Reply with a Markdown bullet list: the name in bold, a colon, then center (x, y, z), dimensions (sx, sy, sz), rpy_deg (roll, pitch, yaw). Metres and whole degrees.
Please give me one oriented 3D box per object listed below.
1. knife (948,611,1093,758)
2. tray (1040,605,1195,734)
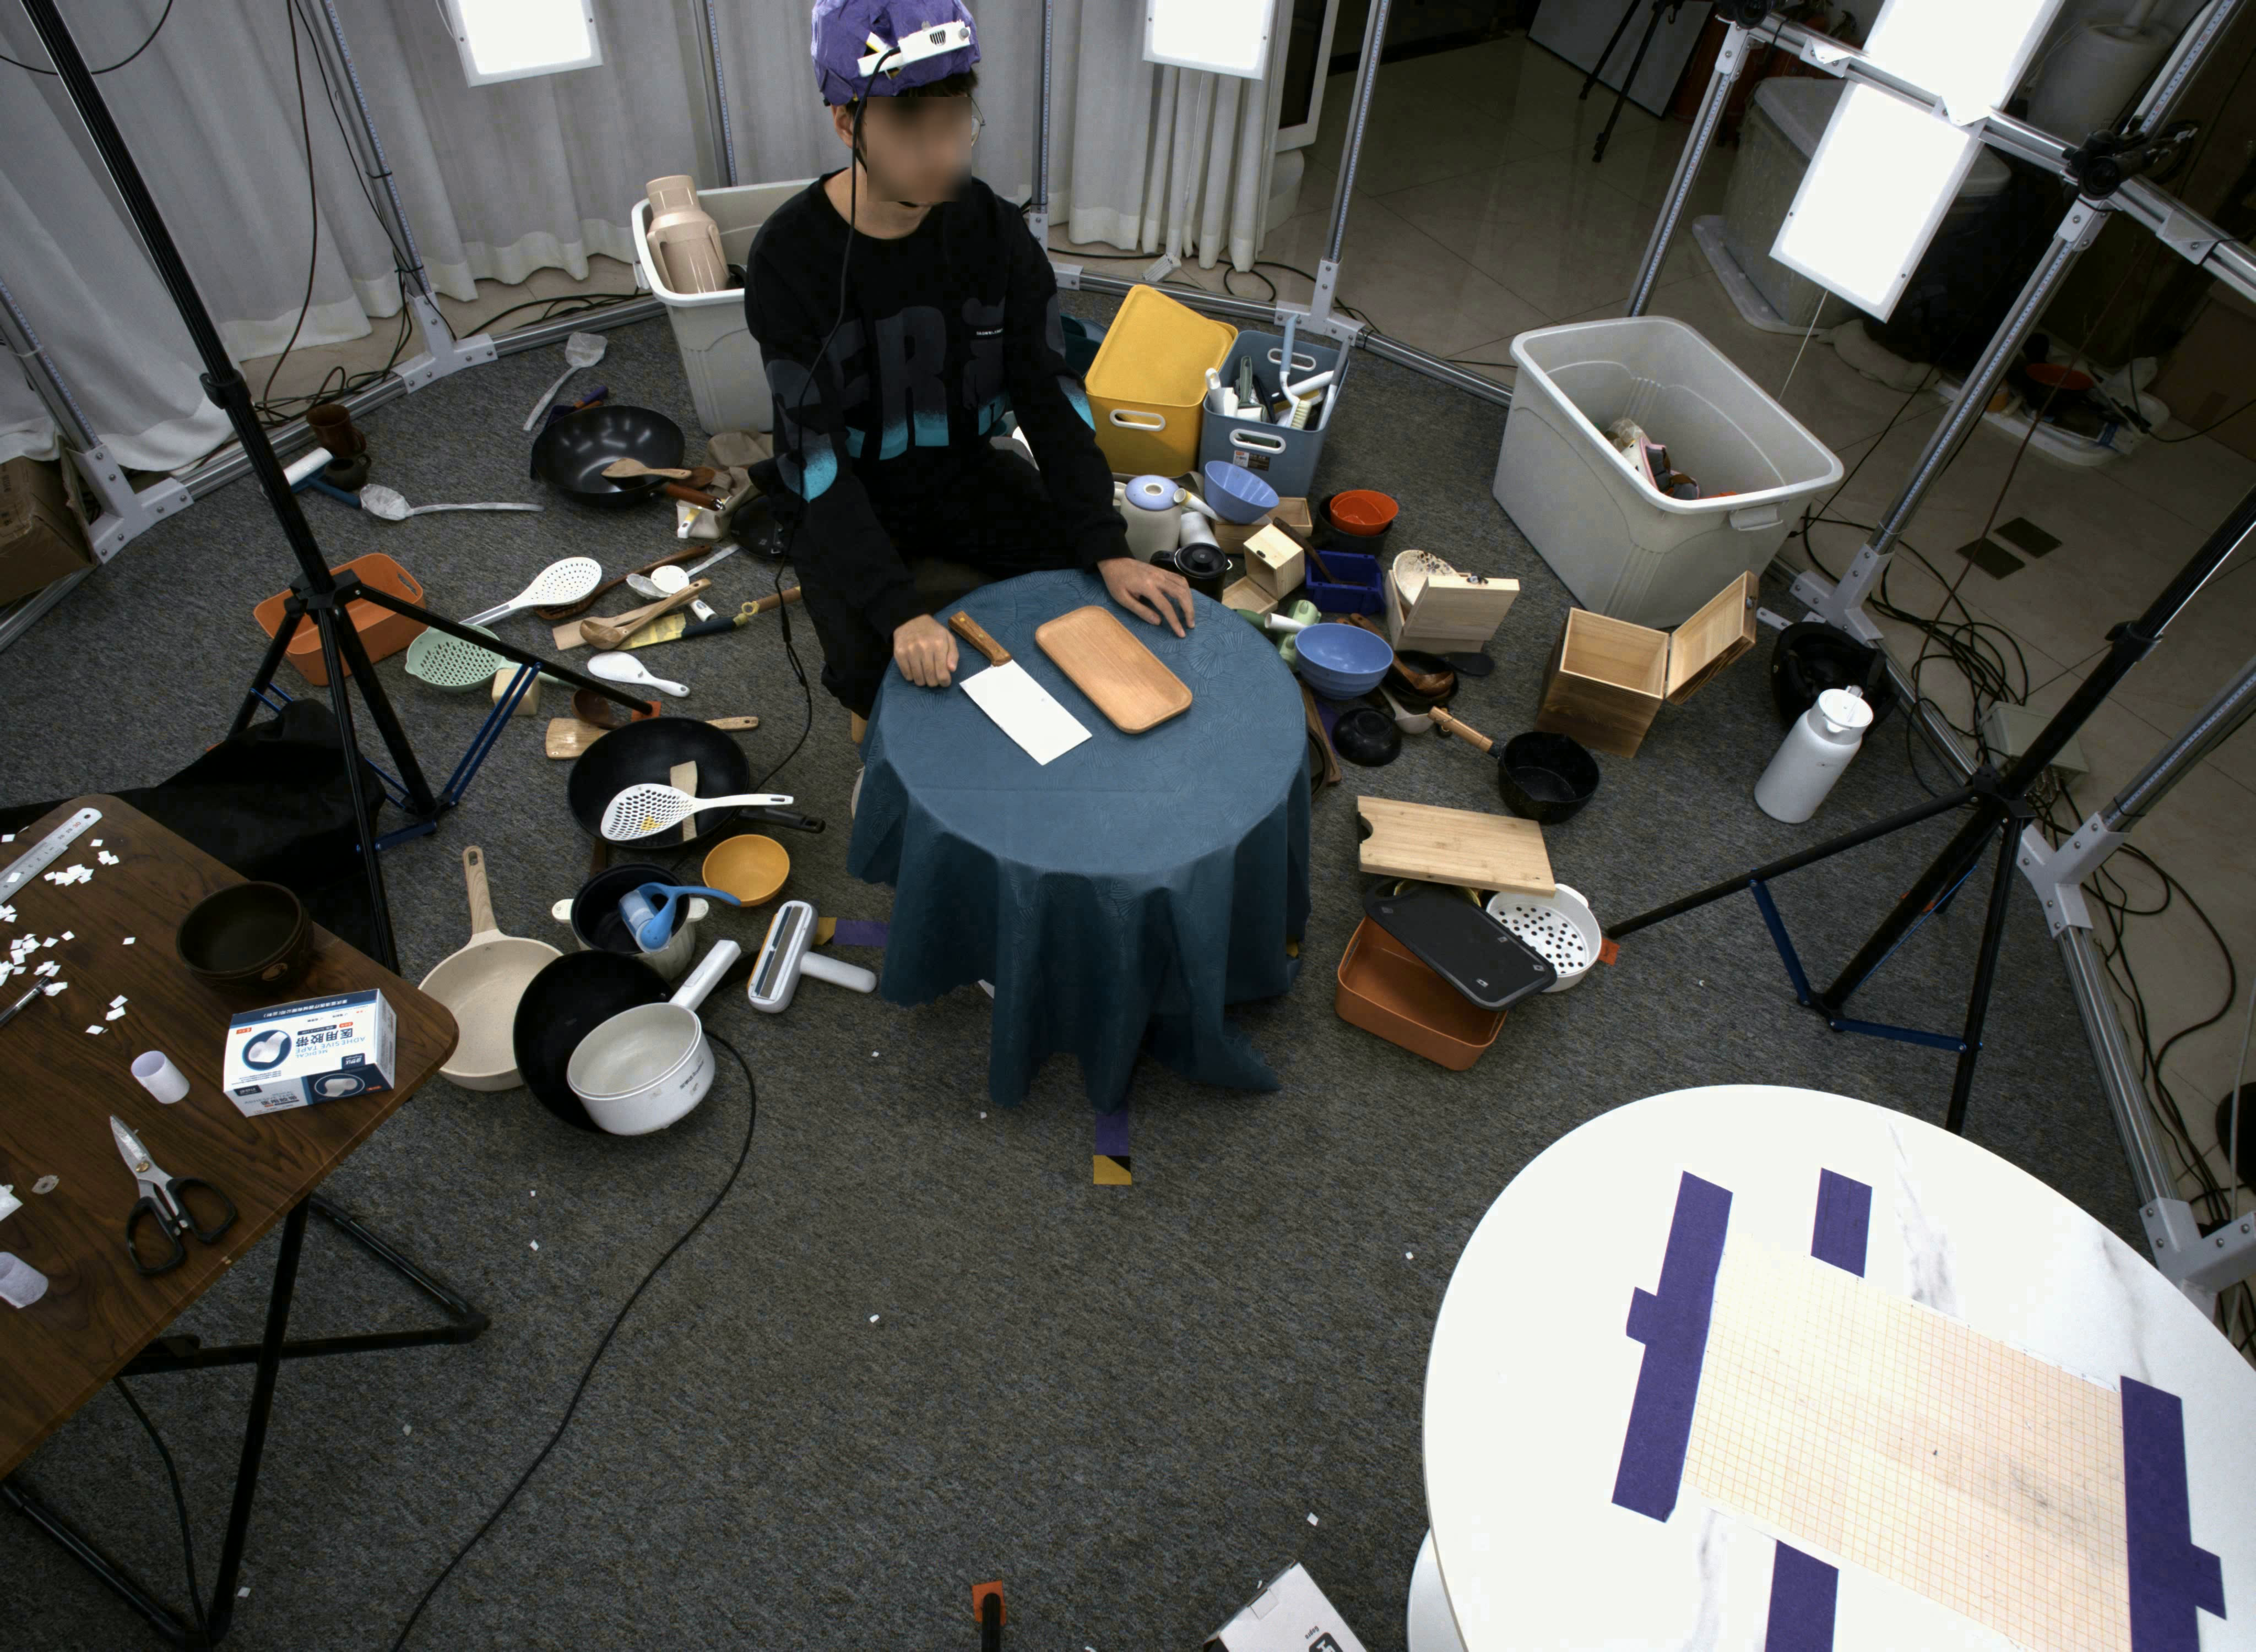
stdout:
- **knife**: center (-0.175, -0.200, 1.821), dimensions (0.093, 0.020, 0.311), rpy_deg (-32, 60, -25)
- **tray**: center (-0.018, -0.229, 1.856), dimensions (0.131, 0.022, 0.255), rpy_deg (-24, 54, -25)
